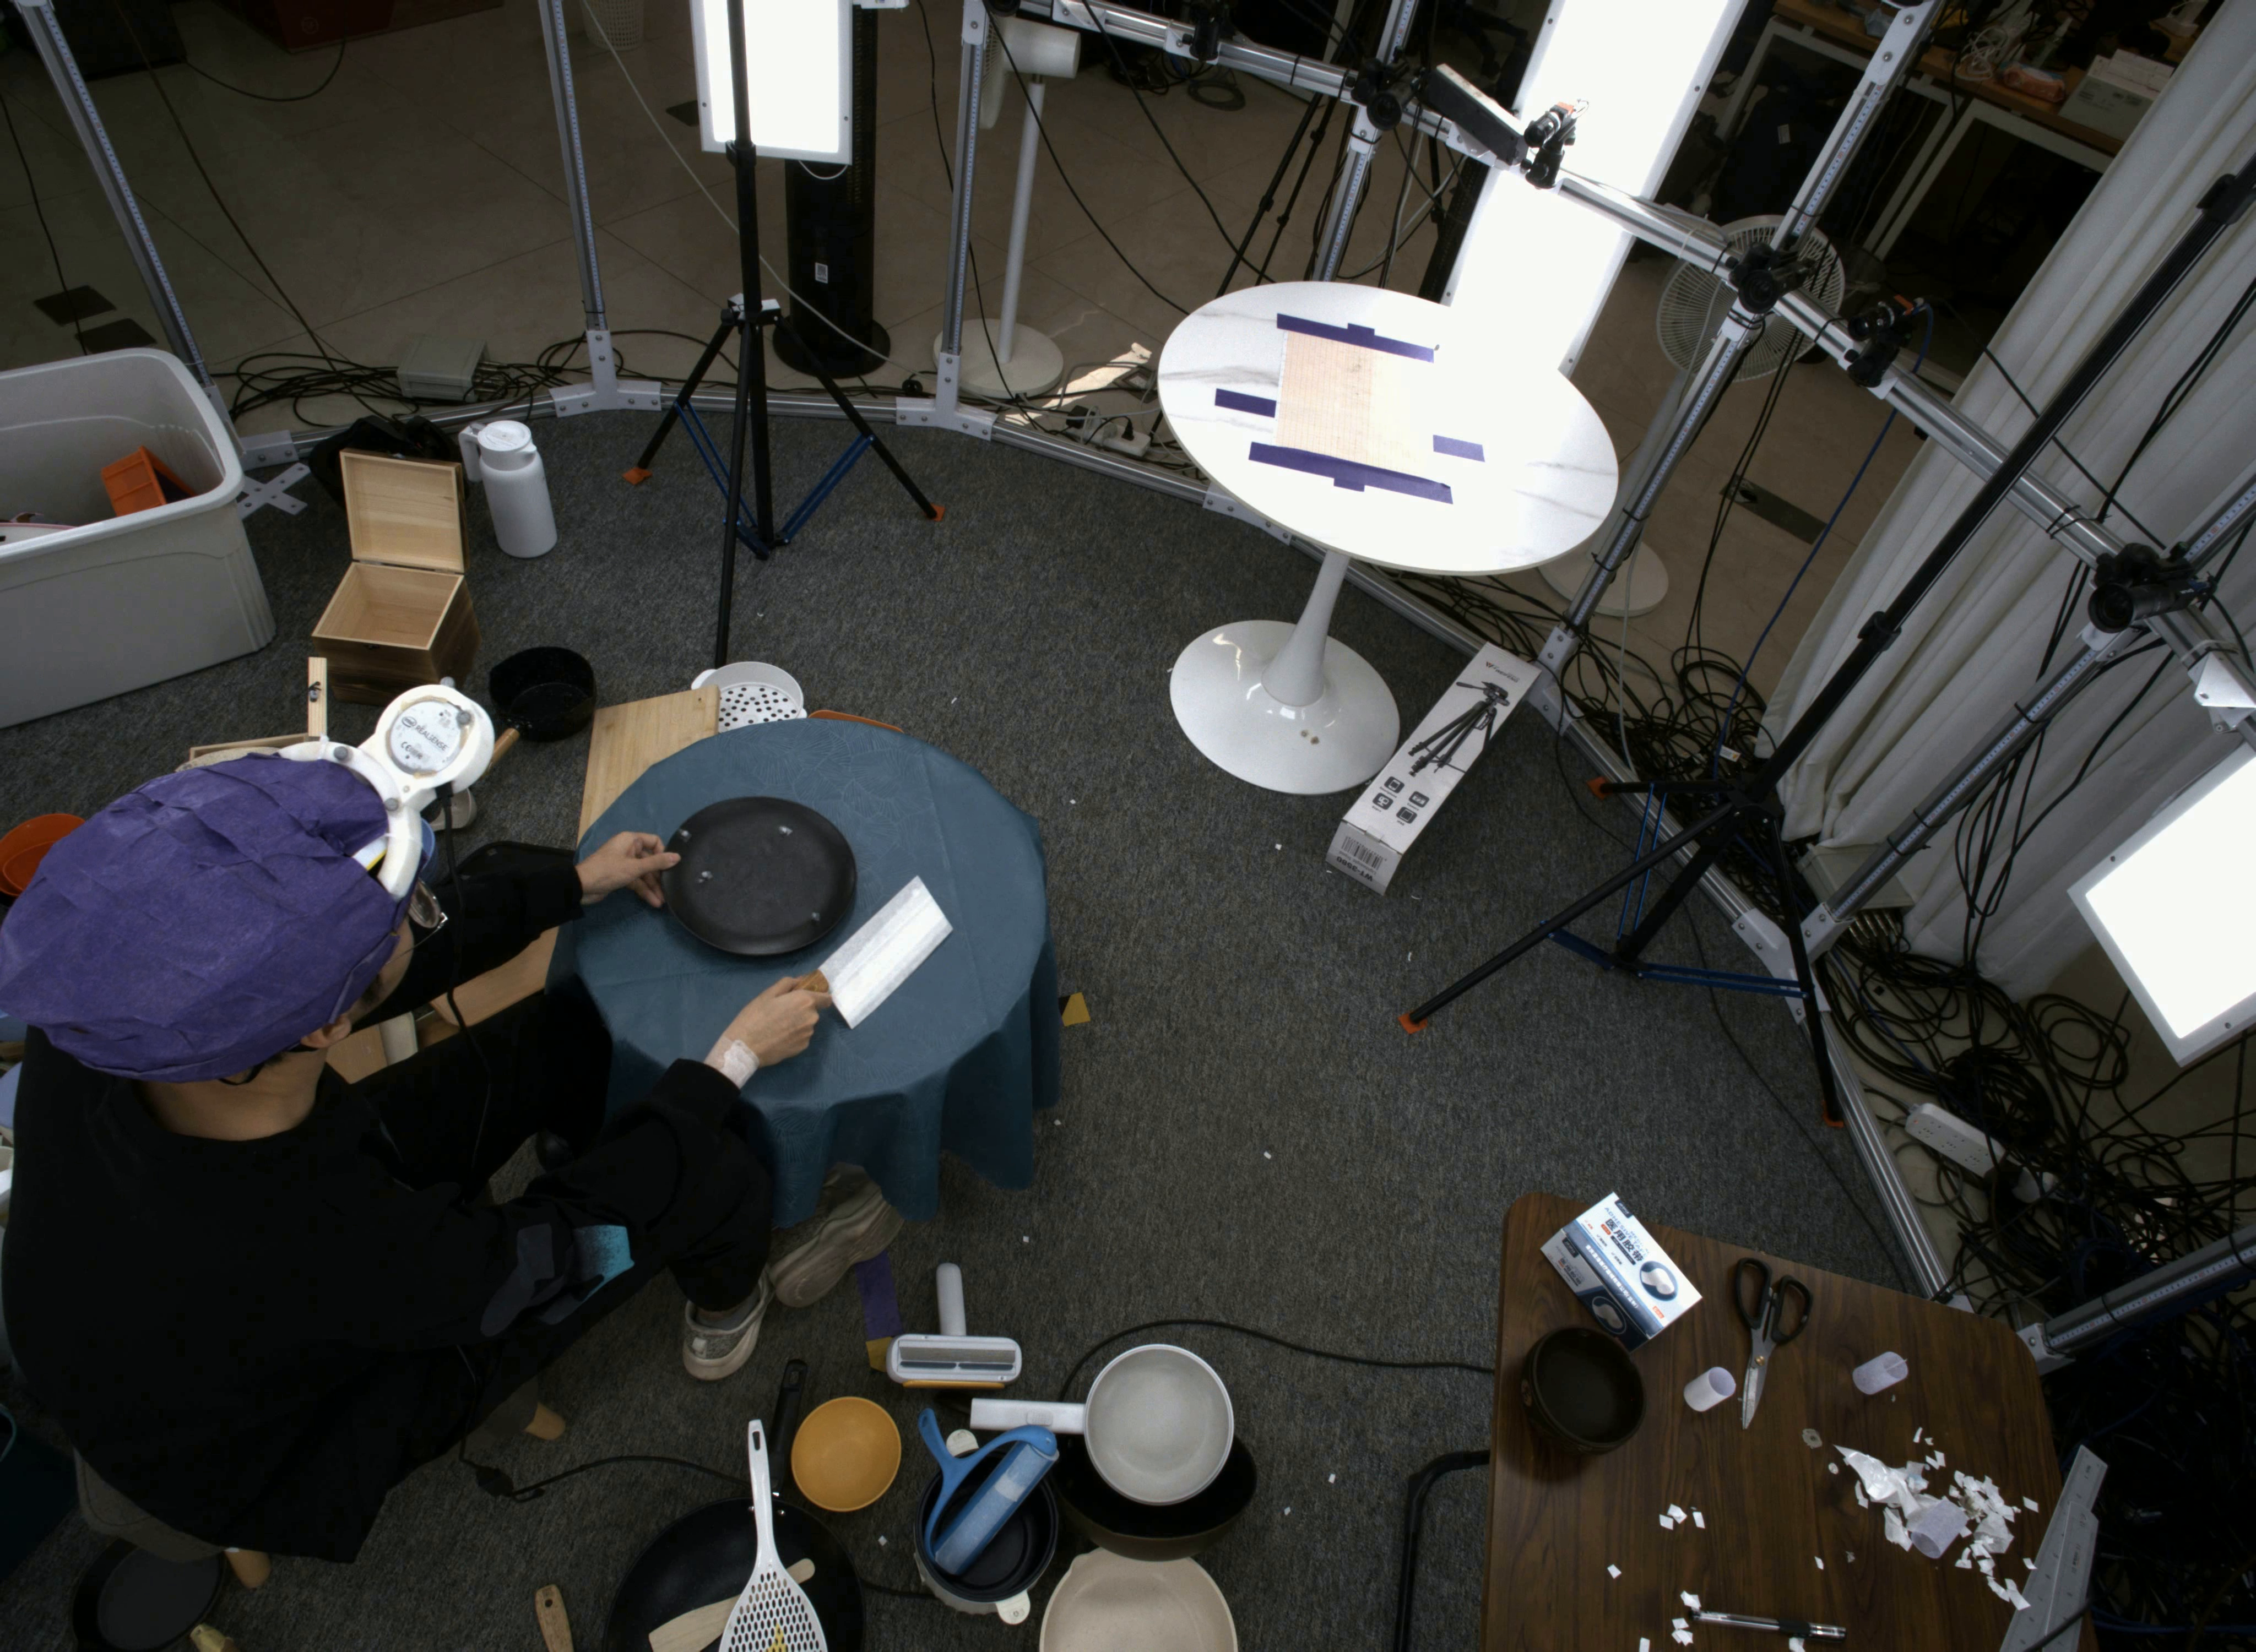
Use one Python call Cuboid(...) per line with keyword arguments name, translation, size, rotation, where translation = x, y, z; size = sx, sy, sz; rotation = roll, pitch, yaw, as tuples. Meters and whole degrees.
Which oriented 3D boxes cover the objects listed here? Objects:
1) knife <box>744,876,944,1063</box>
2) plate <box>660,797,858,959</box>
Cuboid(name="knife", translation=(-0.329, 0.184, 1.557), size=(0.305, 0.020, 0.096), rotation=(-47, 119, -35))
Cuboid(name="plate", translation=(-0.464, 0.064, 1.632), size=(0.245, 0.024, 0.240), rotation=(11, 52, -12))
